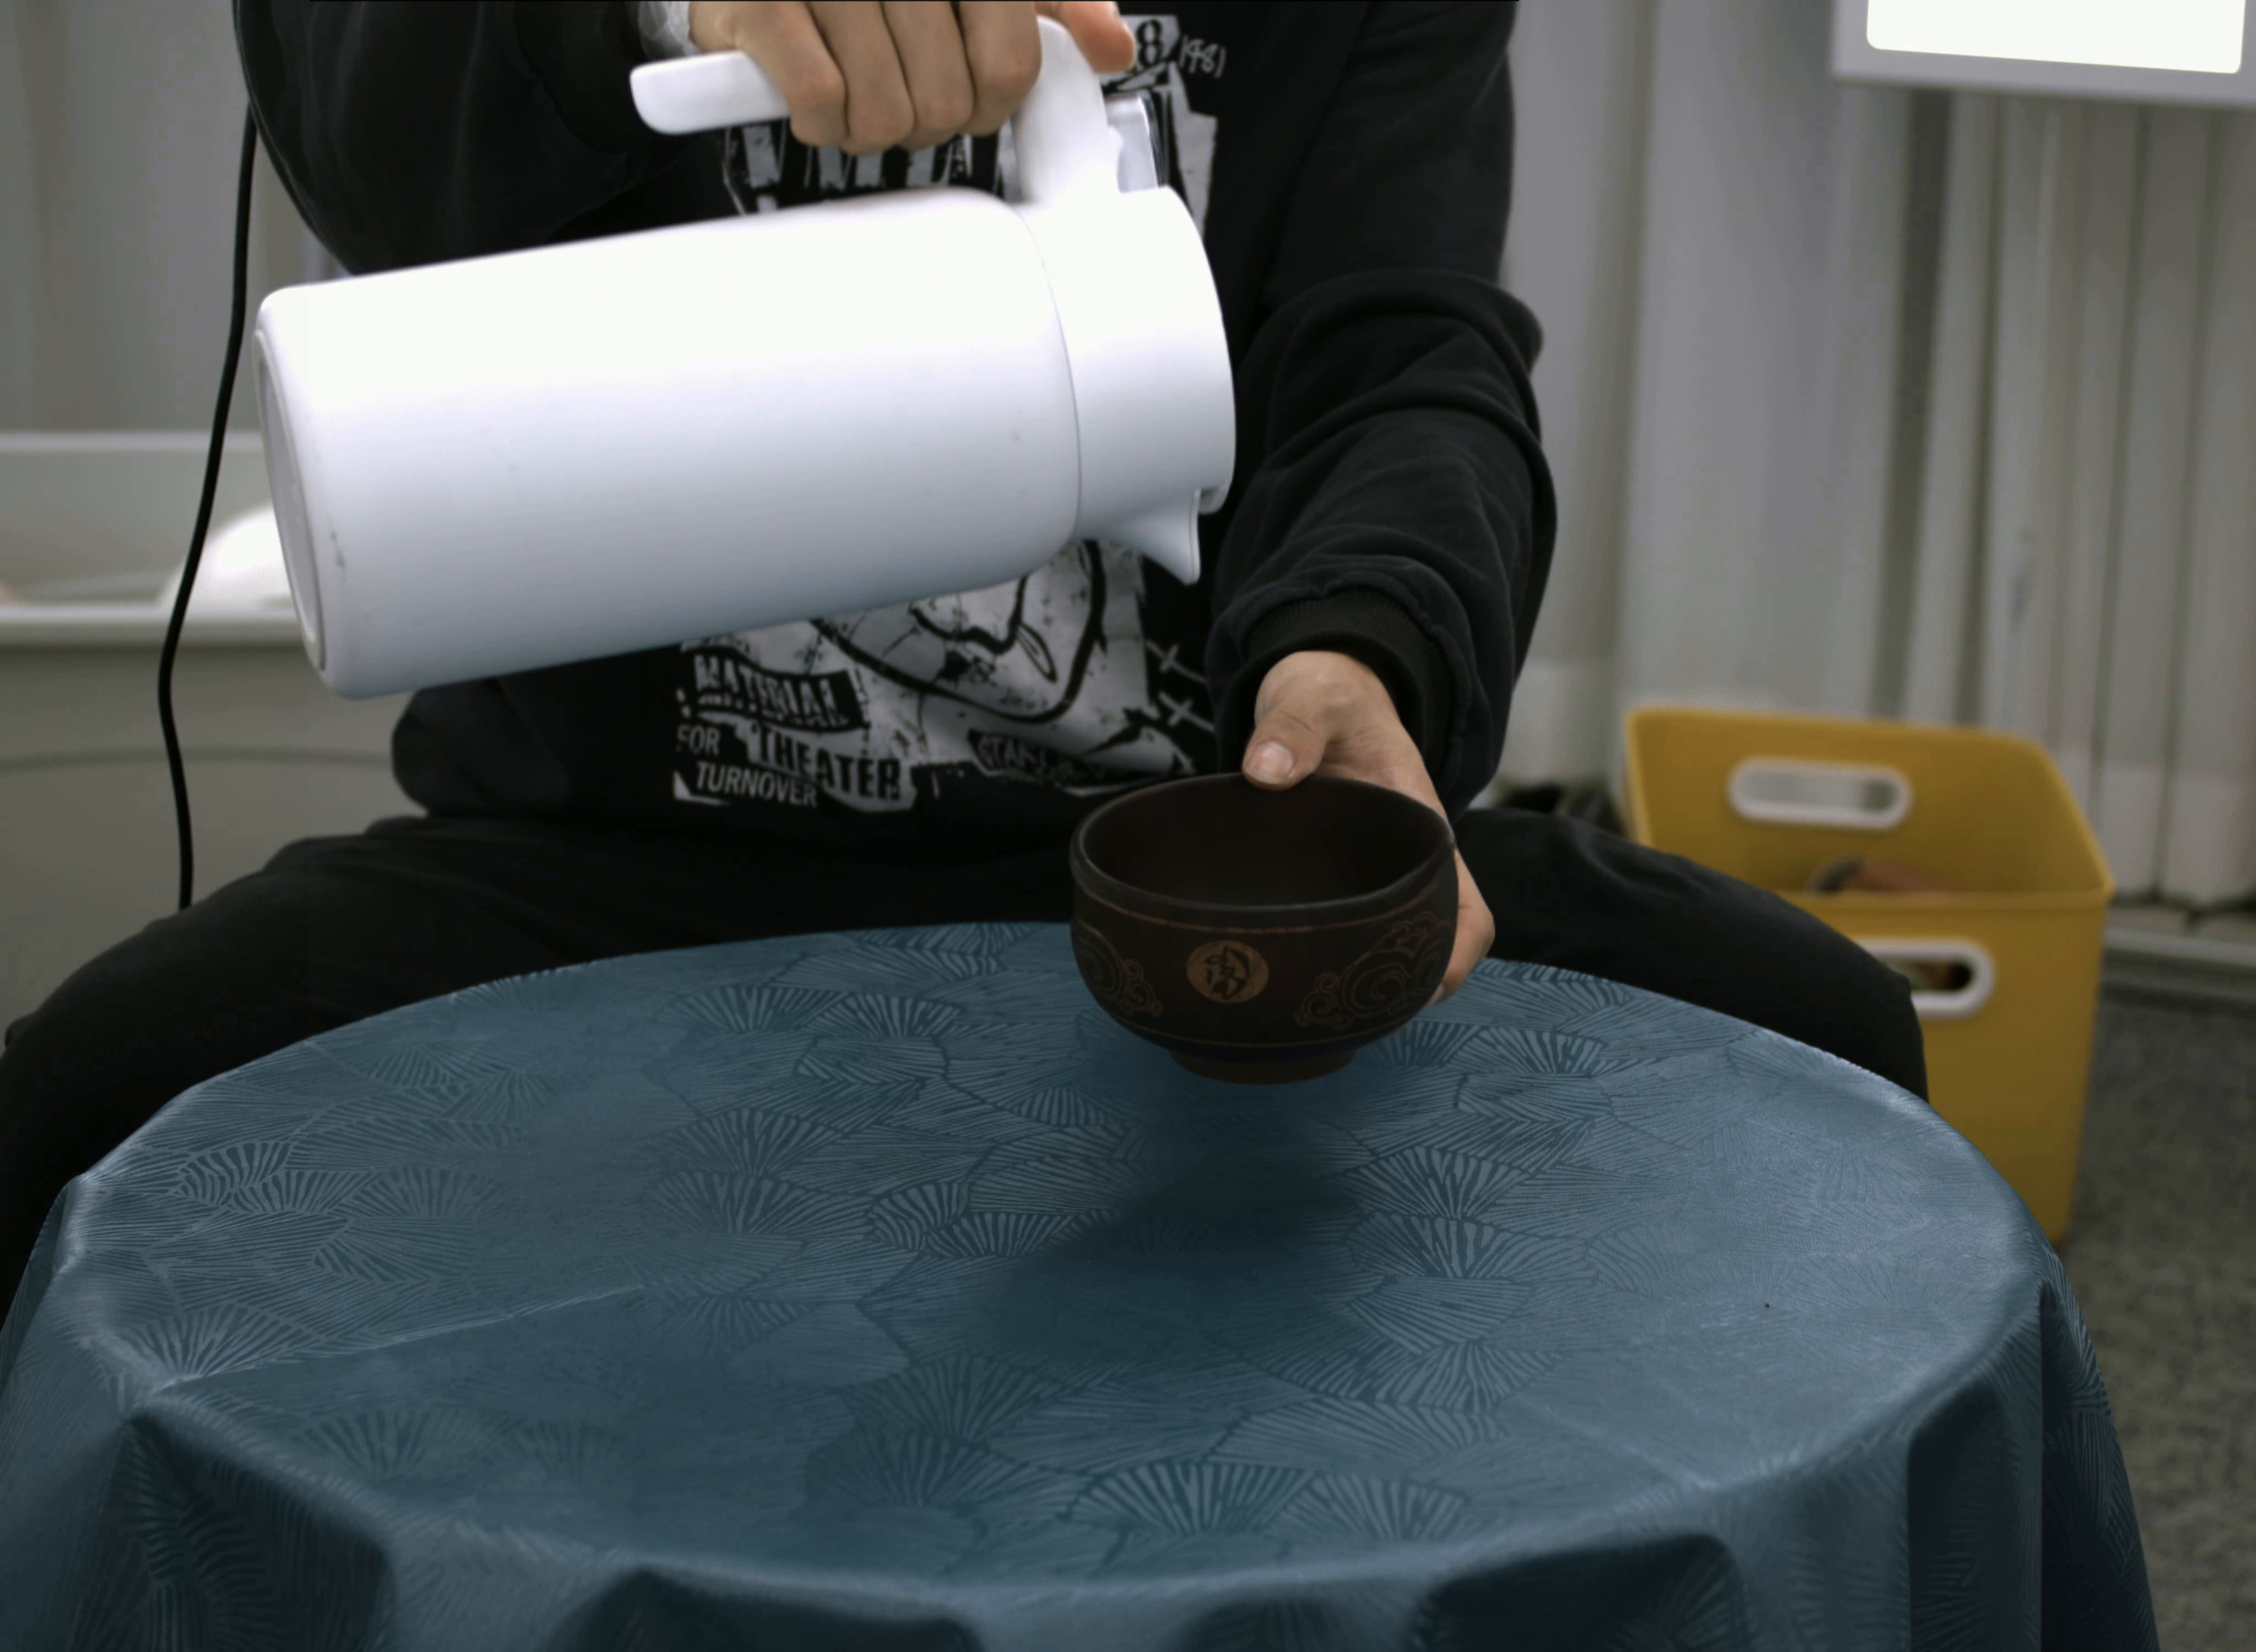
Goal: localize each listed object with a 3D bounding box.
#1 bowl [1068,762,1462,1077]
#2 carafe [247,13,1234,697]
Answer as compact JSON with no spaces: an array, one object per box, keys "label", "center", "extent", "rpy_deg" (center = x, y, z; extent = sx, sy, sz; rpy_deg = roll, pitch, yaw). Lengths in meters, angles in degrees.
[{"label":"bowl","center":[0.041,0.033,1.573],"extent":[0.117,0.070,0.117],"rpy_deg":[-1,21,1]},{"label":"carafe","center":[-0.112,-0.132,1.490],"extent":[0.269,0.174,0.123],"rpy_deg":[-10,8,-11]}]
